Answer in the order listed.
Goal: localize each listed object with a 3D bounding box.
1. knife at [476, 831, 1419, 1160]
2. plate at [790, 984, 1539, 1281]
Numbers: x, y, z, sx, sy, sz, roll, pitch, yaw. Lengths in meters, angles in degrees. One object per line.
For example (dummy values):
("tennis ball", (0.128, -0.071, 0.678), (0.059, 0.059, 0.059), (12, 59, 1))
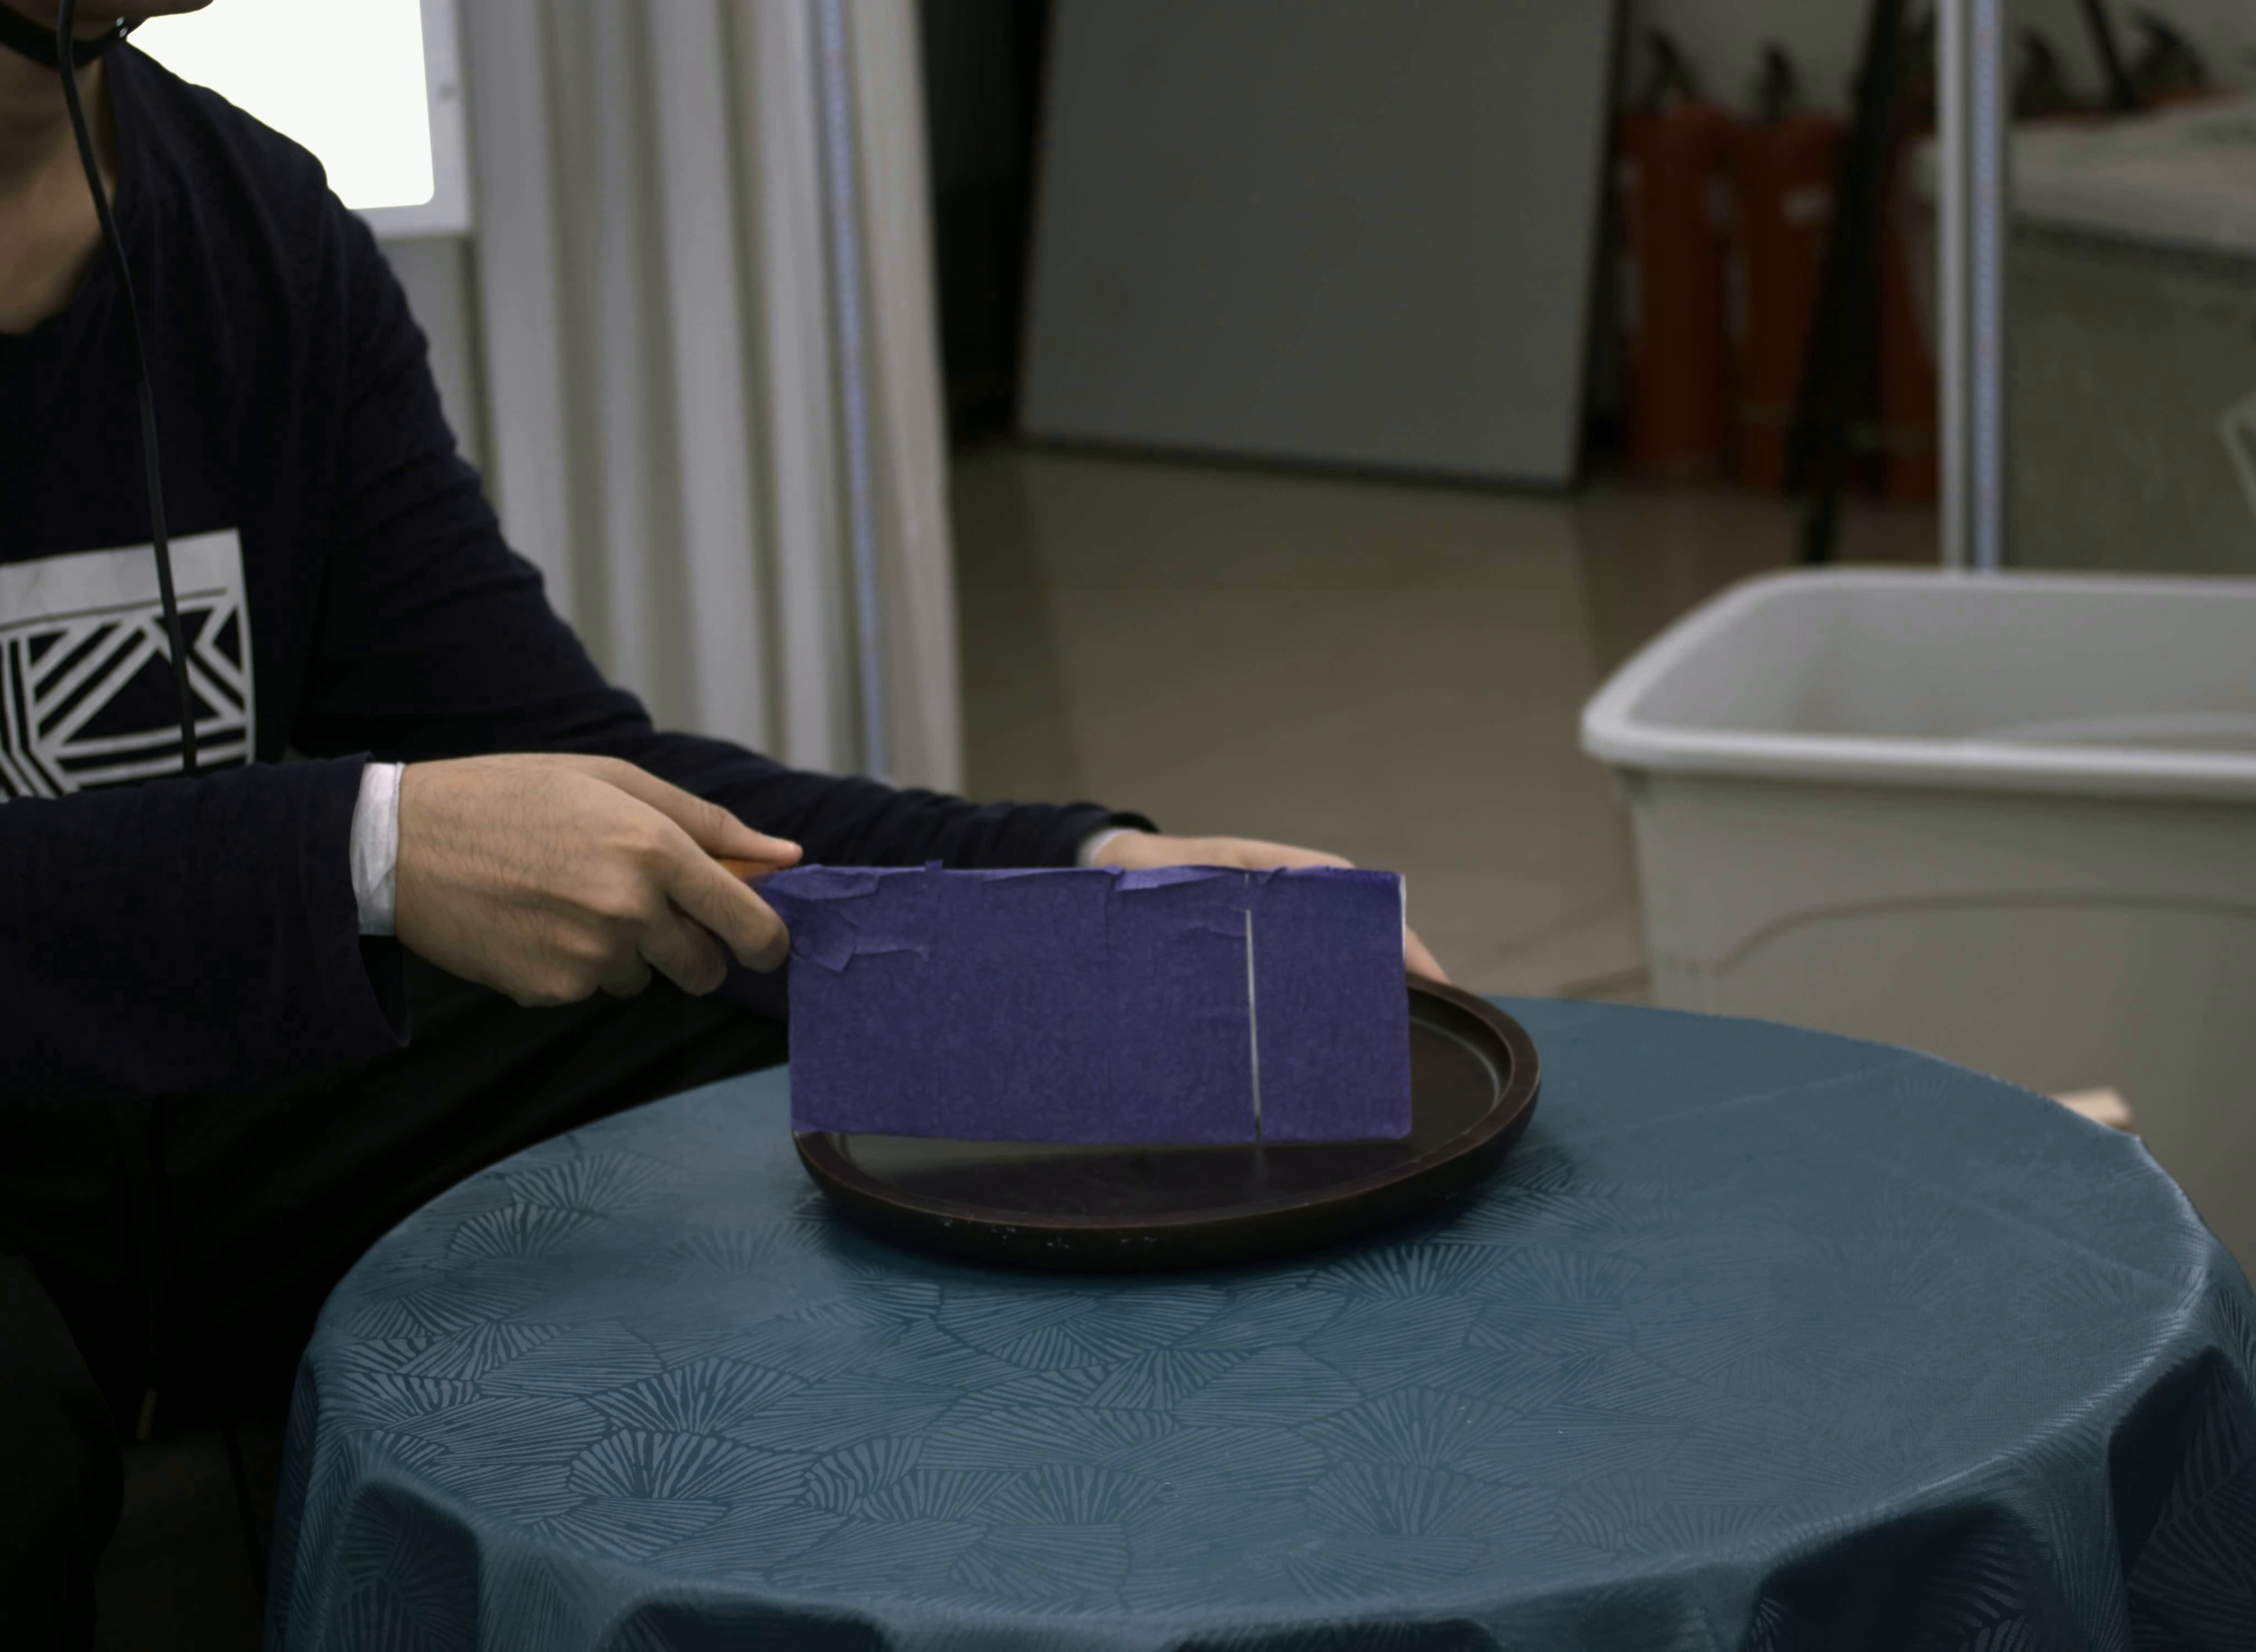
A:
("knife", (-0.060, 0.057, 1.765), (0.313, 0.105, 0.032), (-1, 1, 13))
("plate", (0.013, 0.096, 1.794), (0.251, 0.029, 0.255), (-6, 18, 1))
